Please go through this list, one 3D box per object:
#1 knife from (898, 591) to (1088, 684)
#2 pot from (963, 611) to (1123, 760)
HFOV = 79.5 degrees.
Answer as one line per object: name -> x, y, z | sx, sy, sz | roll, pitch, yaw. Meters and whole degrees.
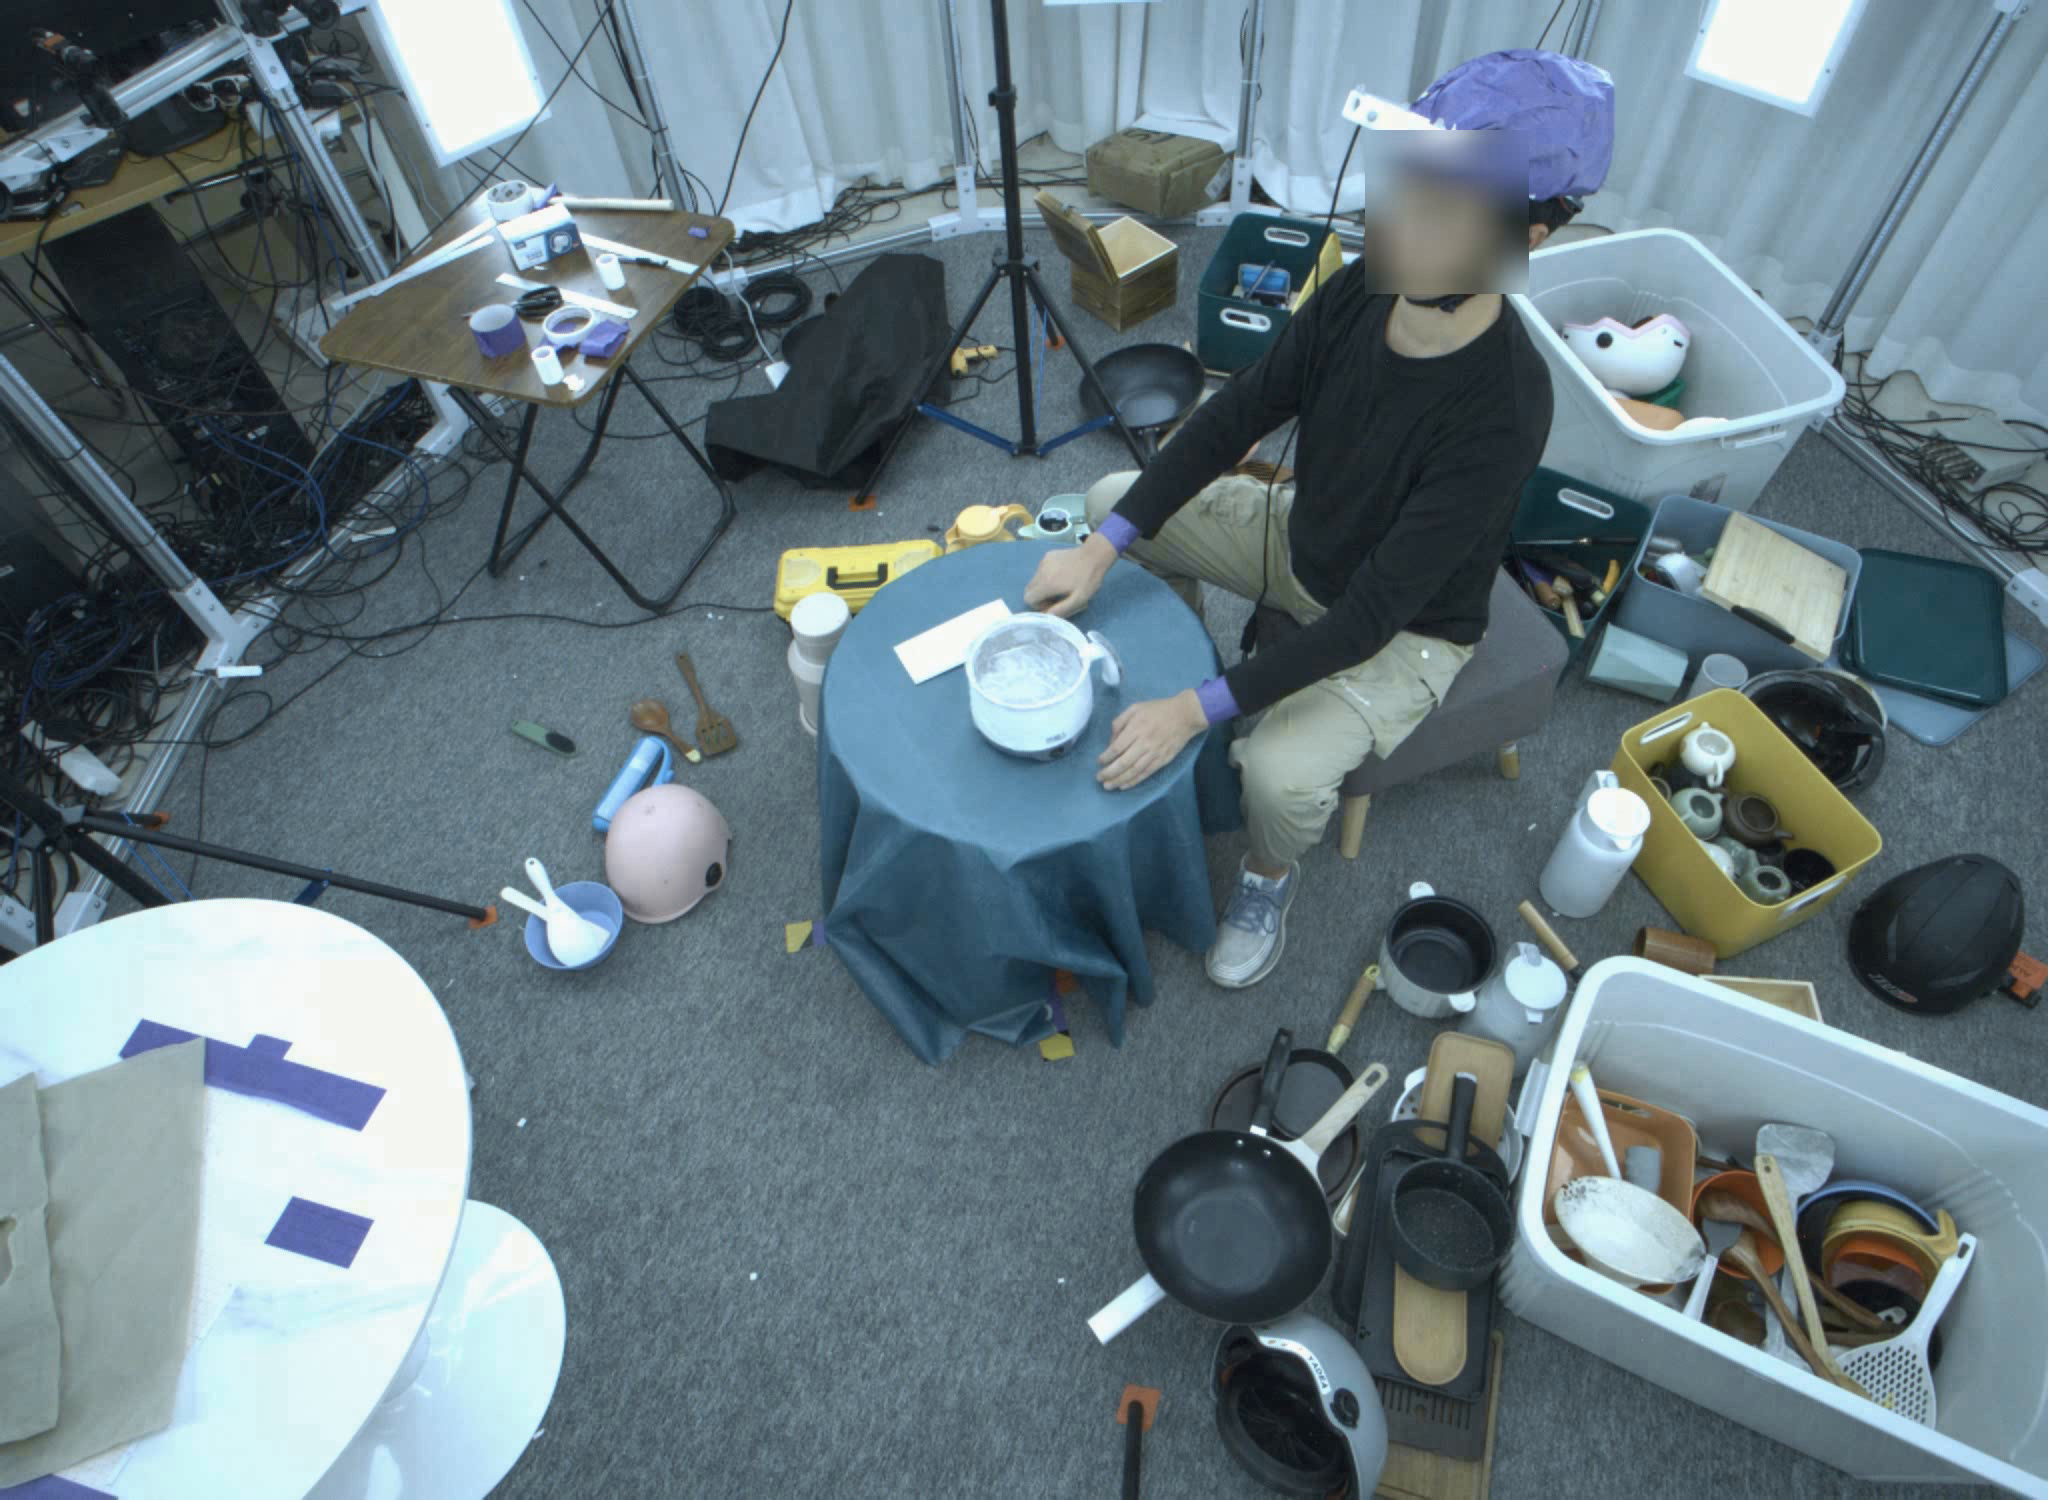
knife -> -0.051, -0.193, 1.914 | 0.308, 0.021, 0.091 | -25, 58, -13
pot -> 0.033, -0.101, 1.768 | 0.235, 0.138, 0.175 | -23, 57, -12
